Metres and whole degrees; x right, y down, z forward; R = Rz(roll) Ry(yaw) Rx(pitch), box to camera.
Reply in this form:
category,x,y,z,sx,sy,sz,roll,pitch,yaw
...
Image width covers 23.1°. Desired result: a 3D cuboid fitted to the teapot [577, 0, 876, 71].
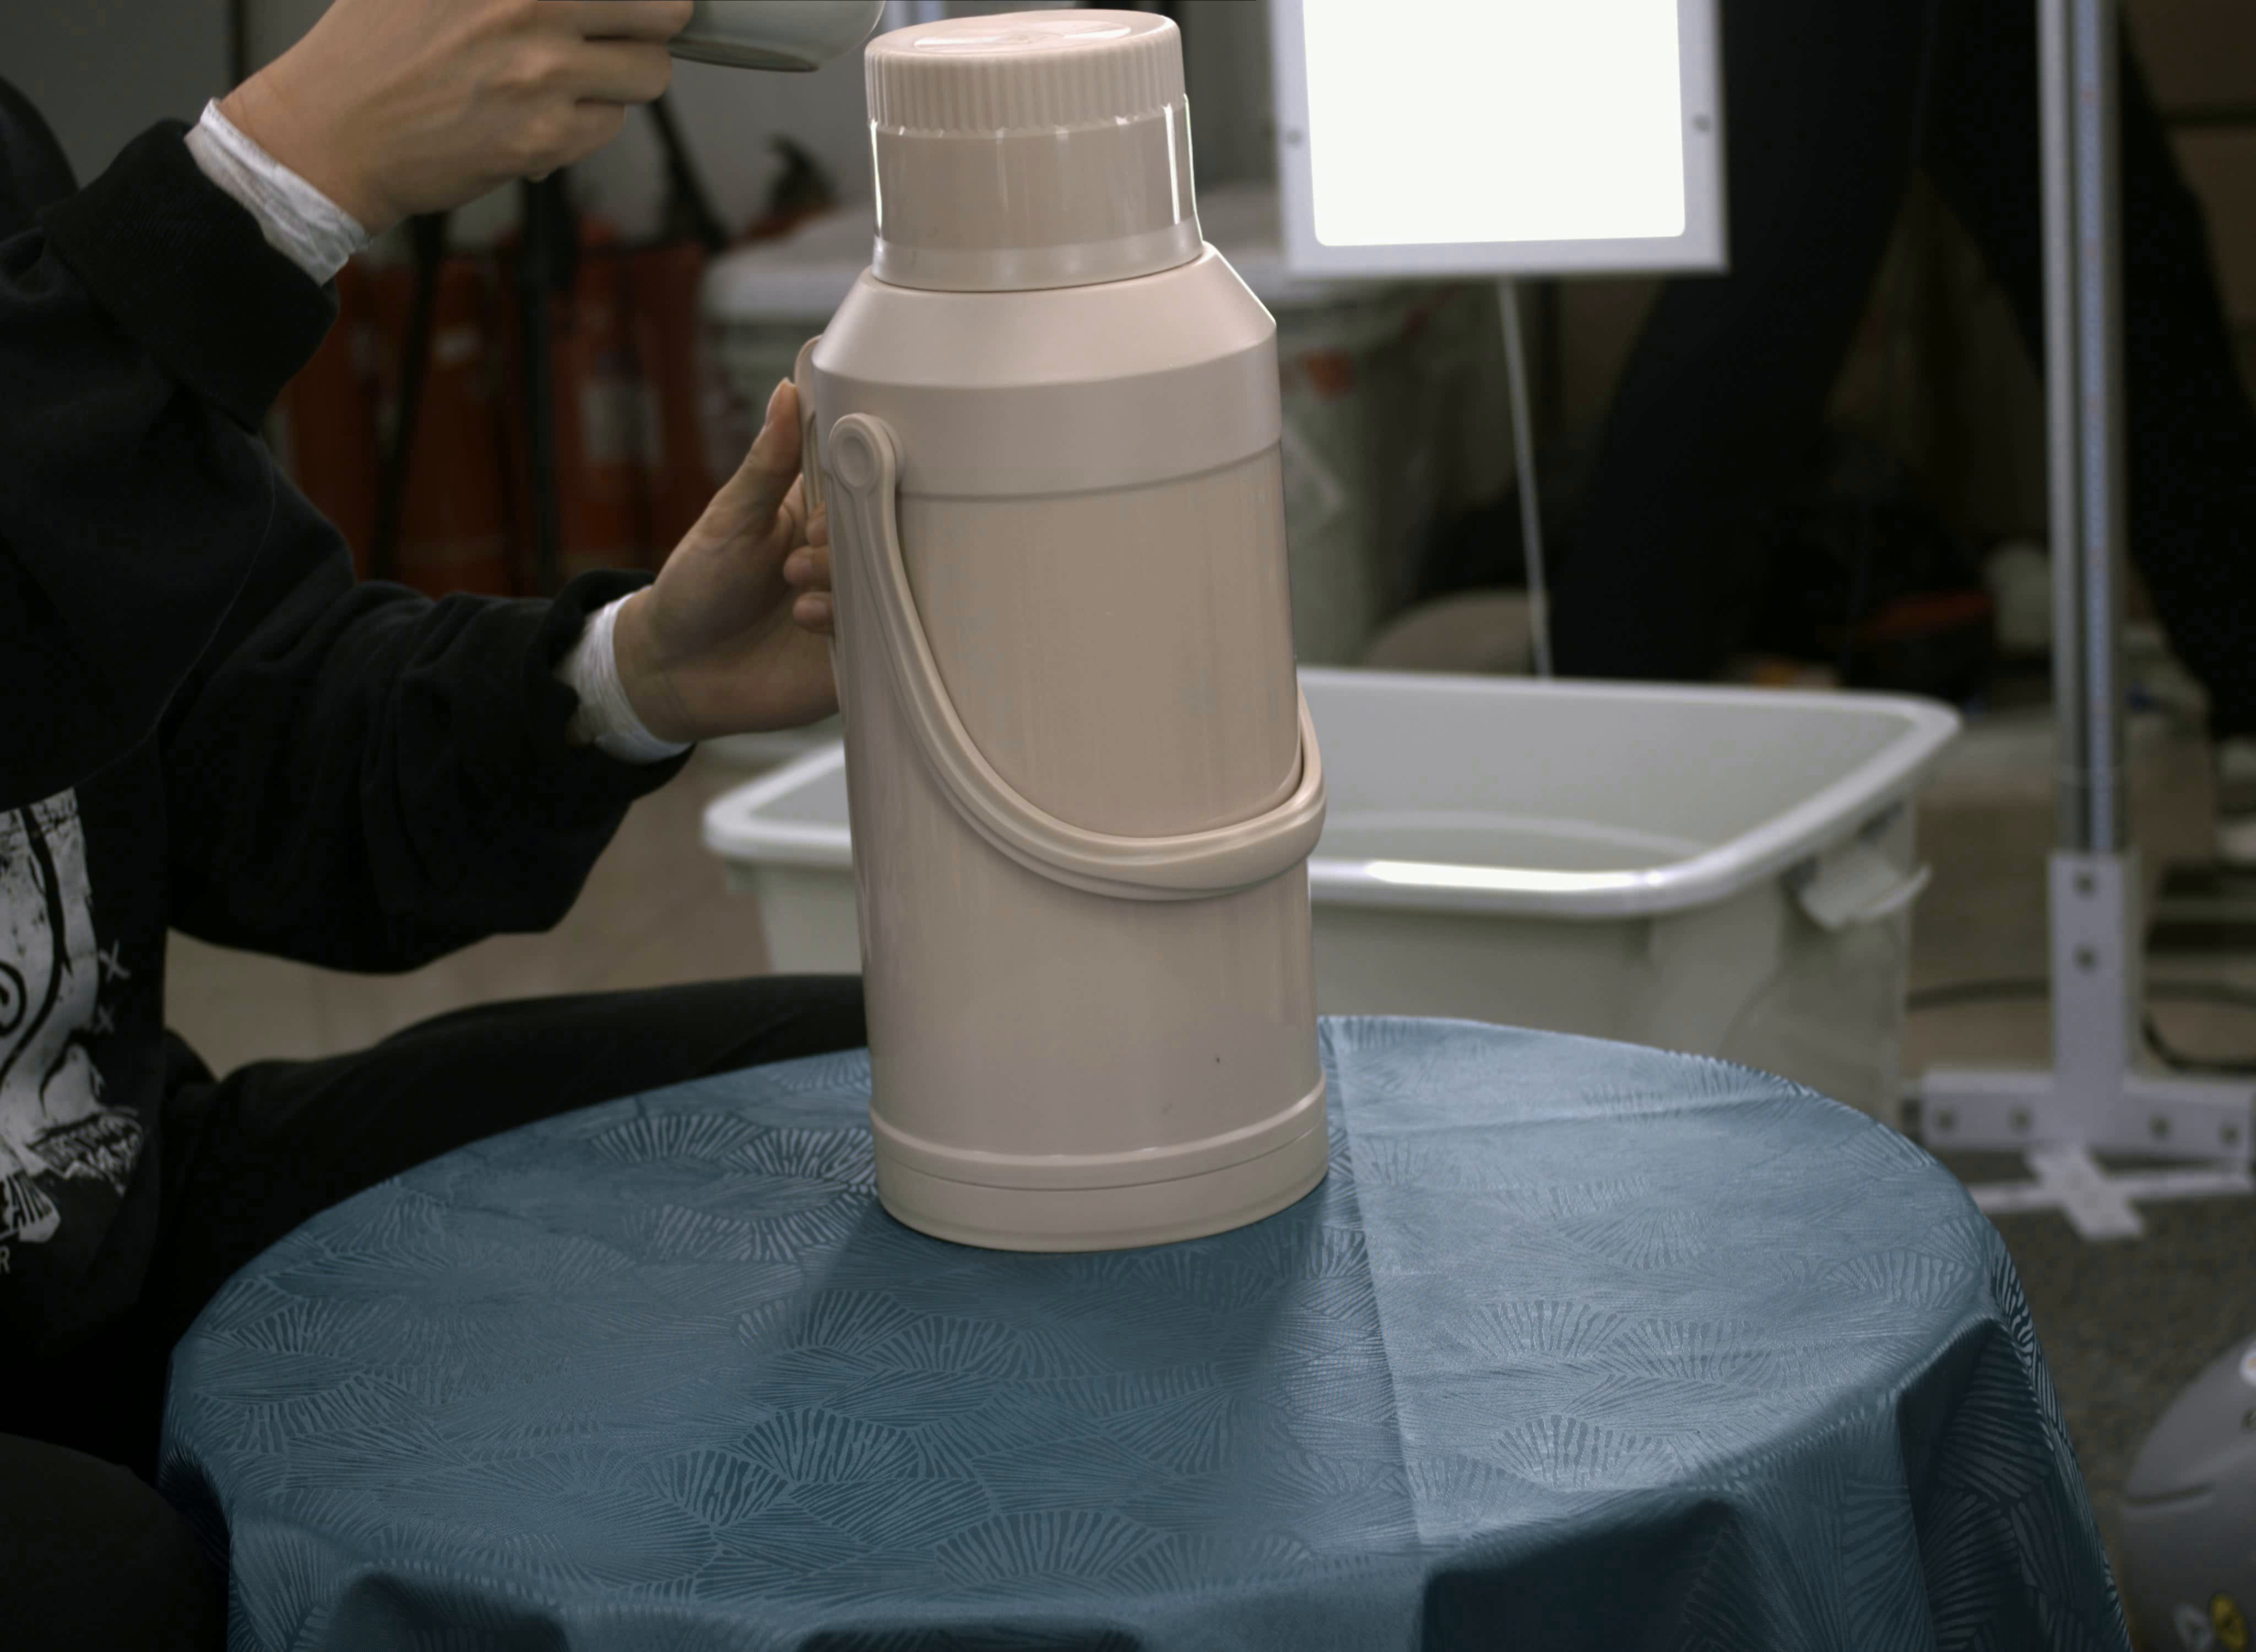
category,x,y,z,sx,sy,sz,roll,pitch,yaw
teapot,-0.128,-0.267,1.691,0.094,0.060,0.125,14,6,42

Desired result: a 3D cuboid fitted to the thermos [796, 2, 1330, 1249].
category,x,y,z,sx,sy,sz,roll,pitch,yaw
thermos,-0.031,-0.072,1.875,0.171,0.408,0.211,-20,23,-40
